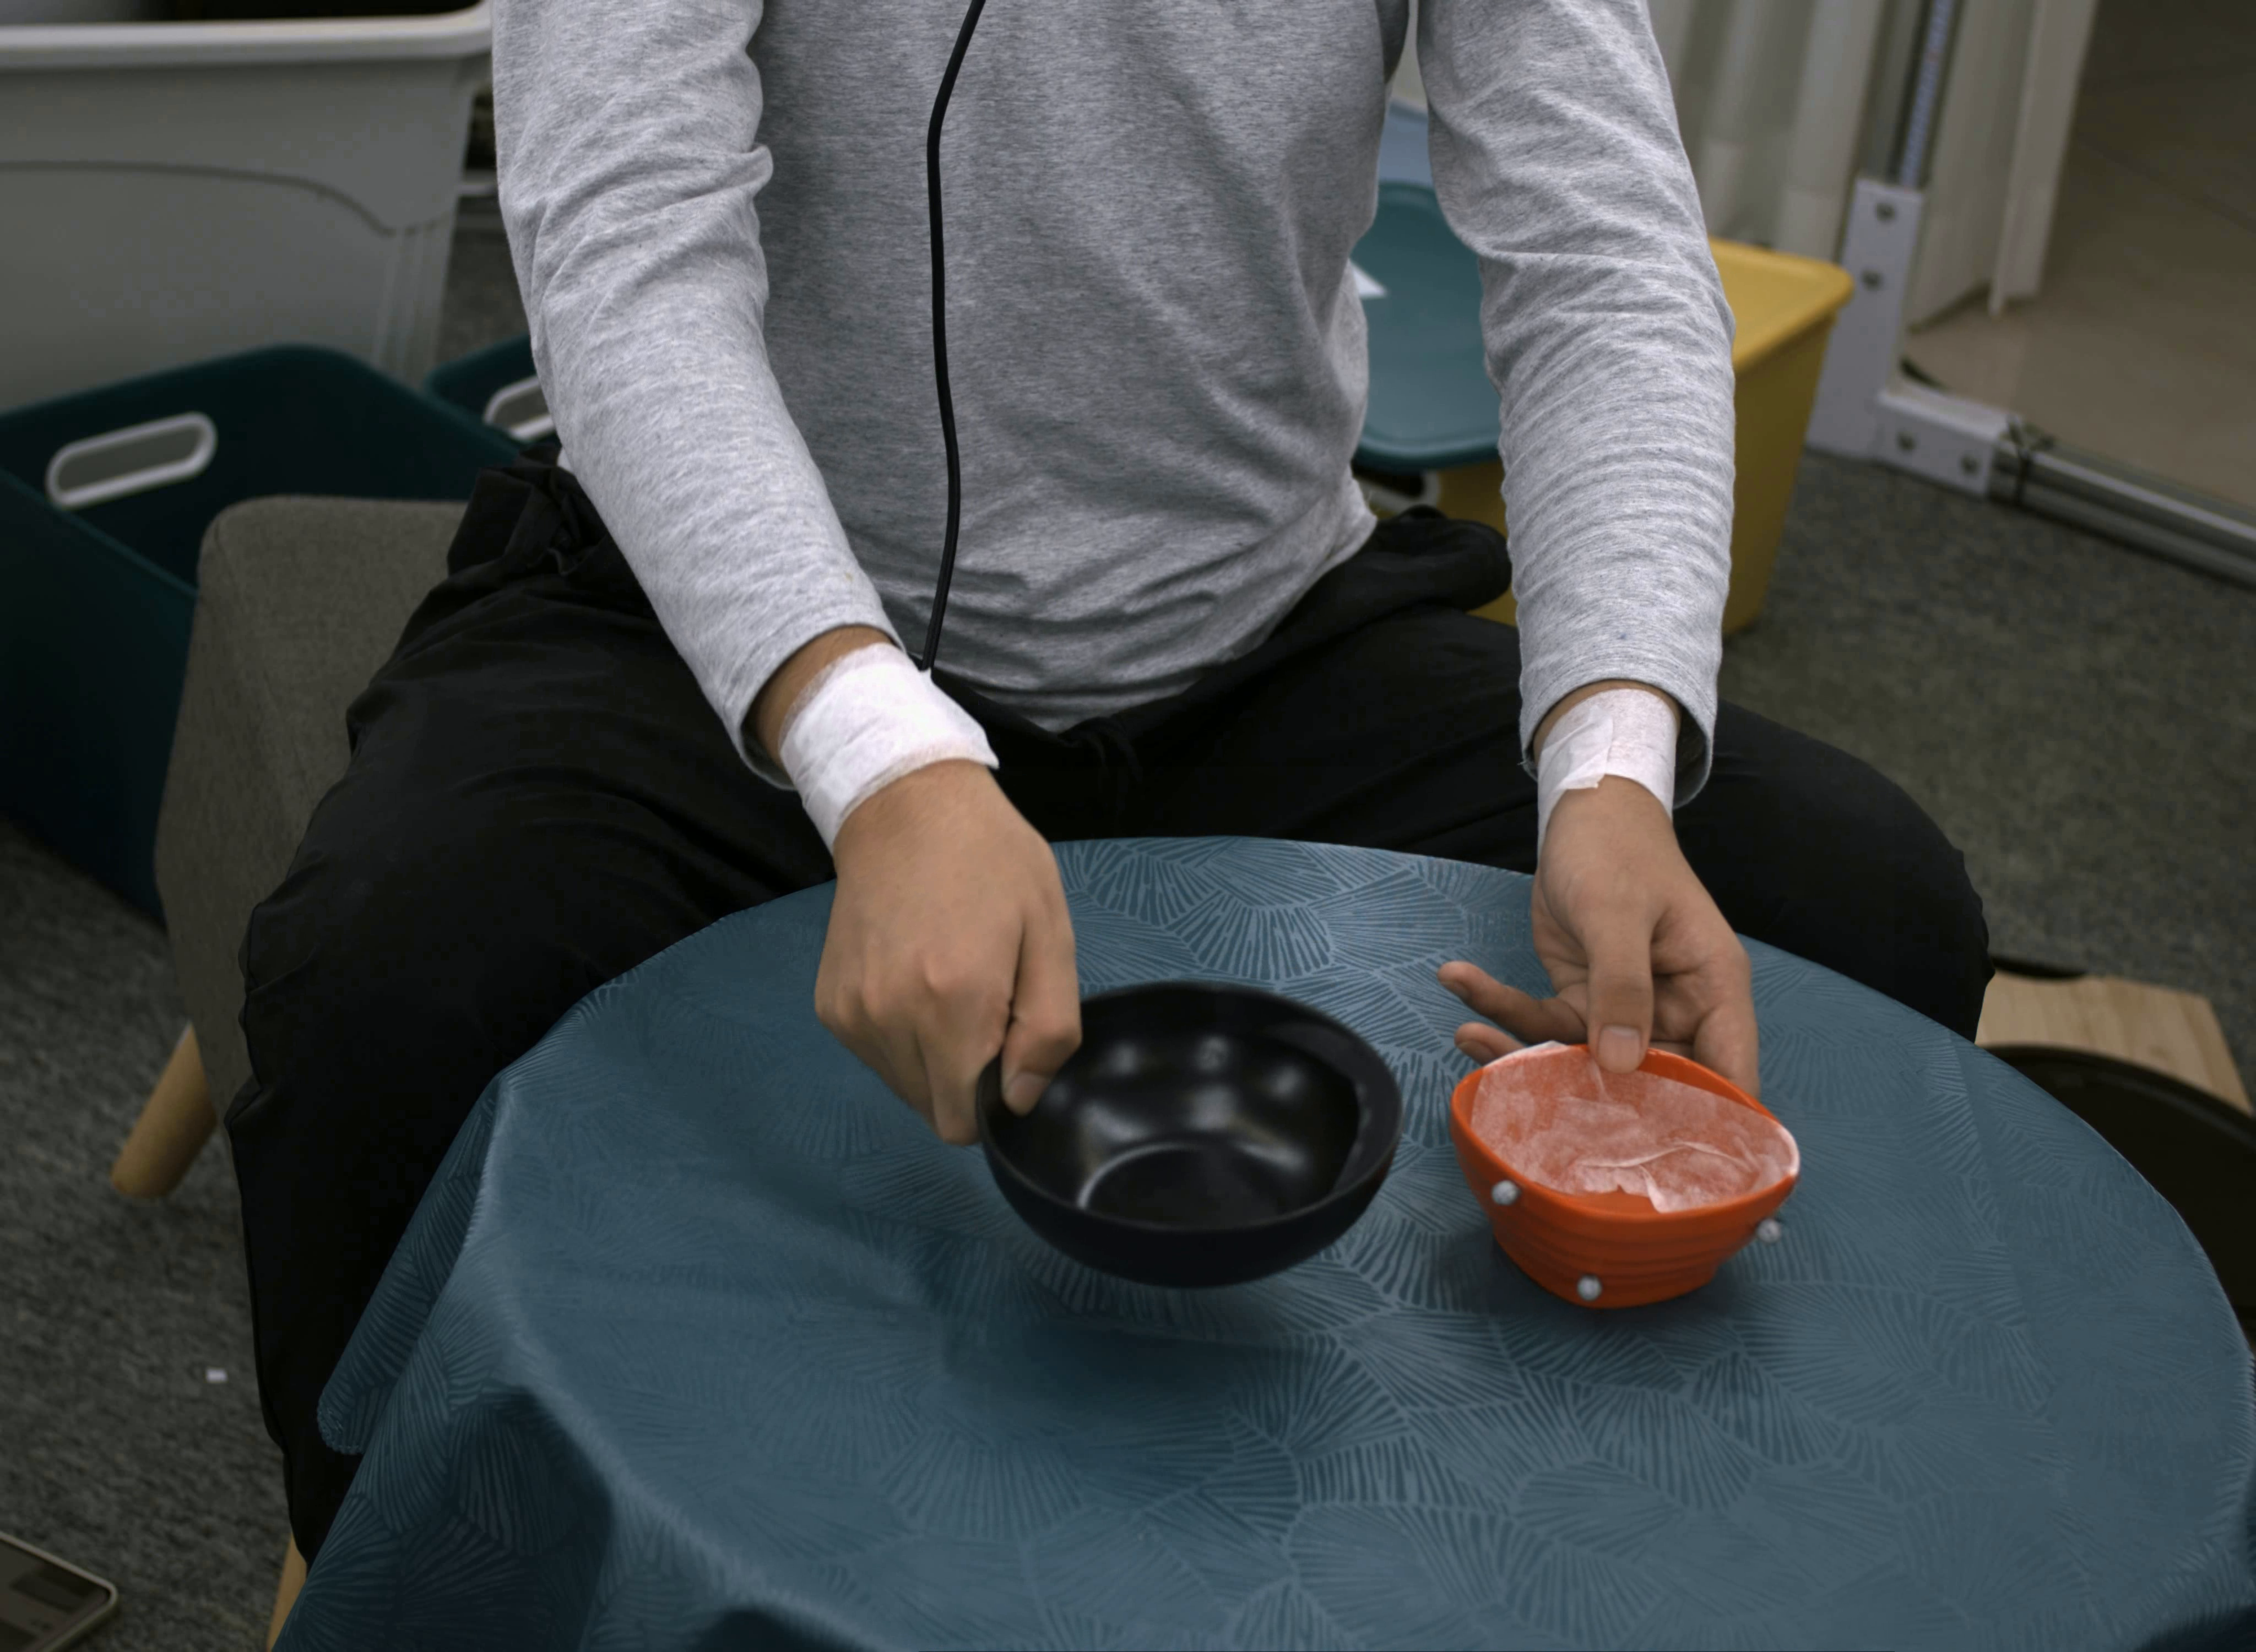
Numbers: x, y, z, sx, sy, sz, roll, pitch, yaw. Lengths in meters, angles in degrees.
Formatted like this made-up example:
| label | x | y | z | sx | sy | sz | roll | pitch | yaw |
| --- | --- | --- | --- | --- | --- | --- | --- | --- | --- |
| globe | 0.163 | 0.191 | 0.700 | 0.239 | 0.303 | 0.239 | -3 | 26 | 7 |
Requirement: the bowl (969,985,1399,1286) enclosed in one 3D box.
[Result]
| label | x | y | z | sx | sy | sz | roll | pitch | yaw |
| --- | --- | --- | --- | --- | --- | --- | --- | --- | --- |
| bowl | 0.018 | 0.108 | 1.722 | 0.139 | 0.049 | 0.141 | 0 | 30 | 0 |

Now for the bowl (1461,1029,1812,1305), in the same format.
| label | x | y | z | sx | sy | sz | roll | pitch | yaw |
| --- | --- | --- | --- | --- | --- | --- | --- | --- | --- |
| bowl | 0.167 | 0.120 | 1.789 | 0.118 | 0.051 | 0.120 | 6 | 30 | -4 |
